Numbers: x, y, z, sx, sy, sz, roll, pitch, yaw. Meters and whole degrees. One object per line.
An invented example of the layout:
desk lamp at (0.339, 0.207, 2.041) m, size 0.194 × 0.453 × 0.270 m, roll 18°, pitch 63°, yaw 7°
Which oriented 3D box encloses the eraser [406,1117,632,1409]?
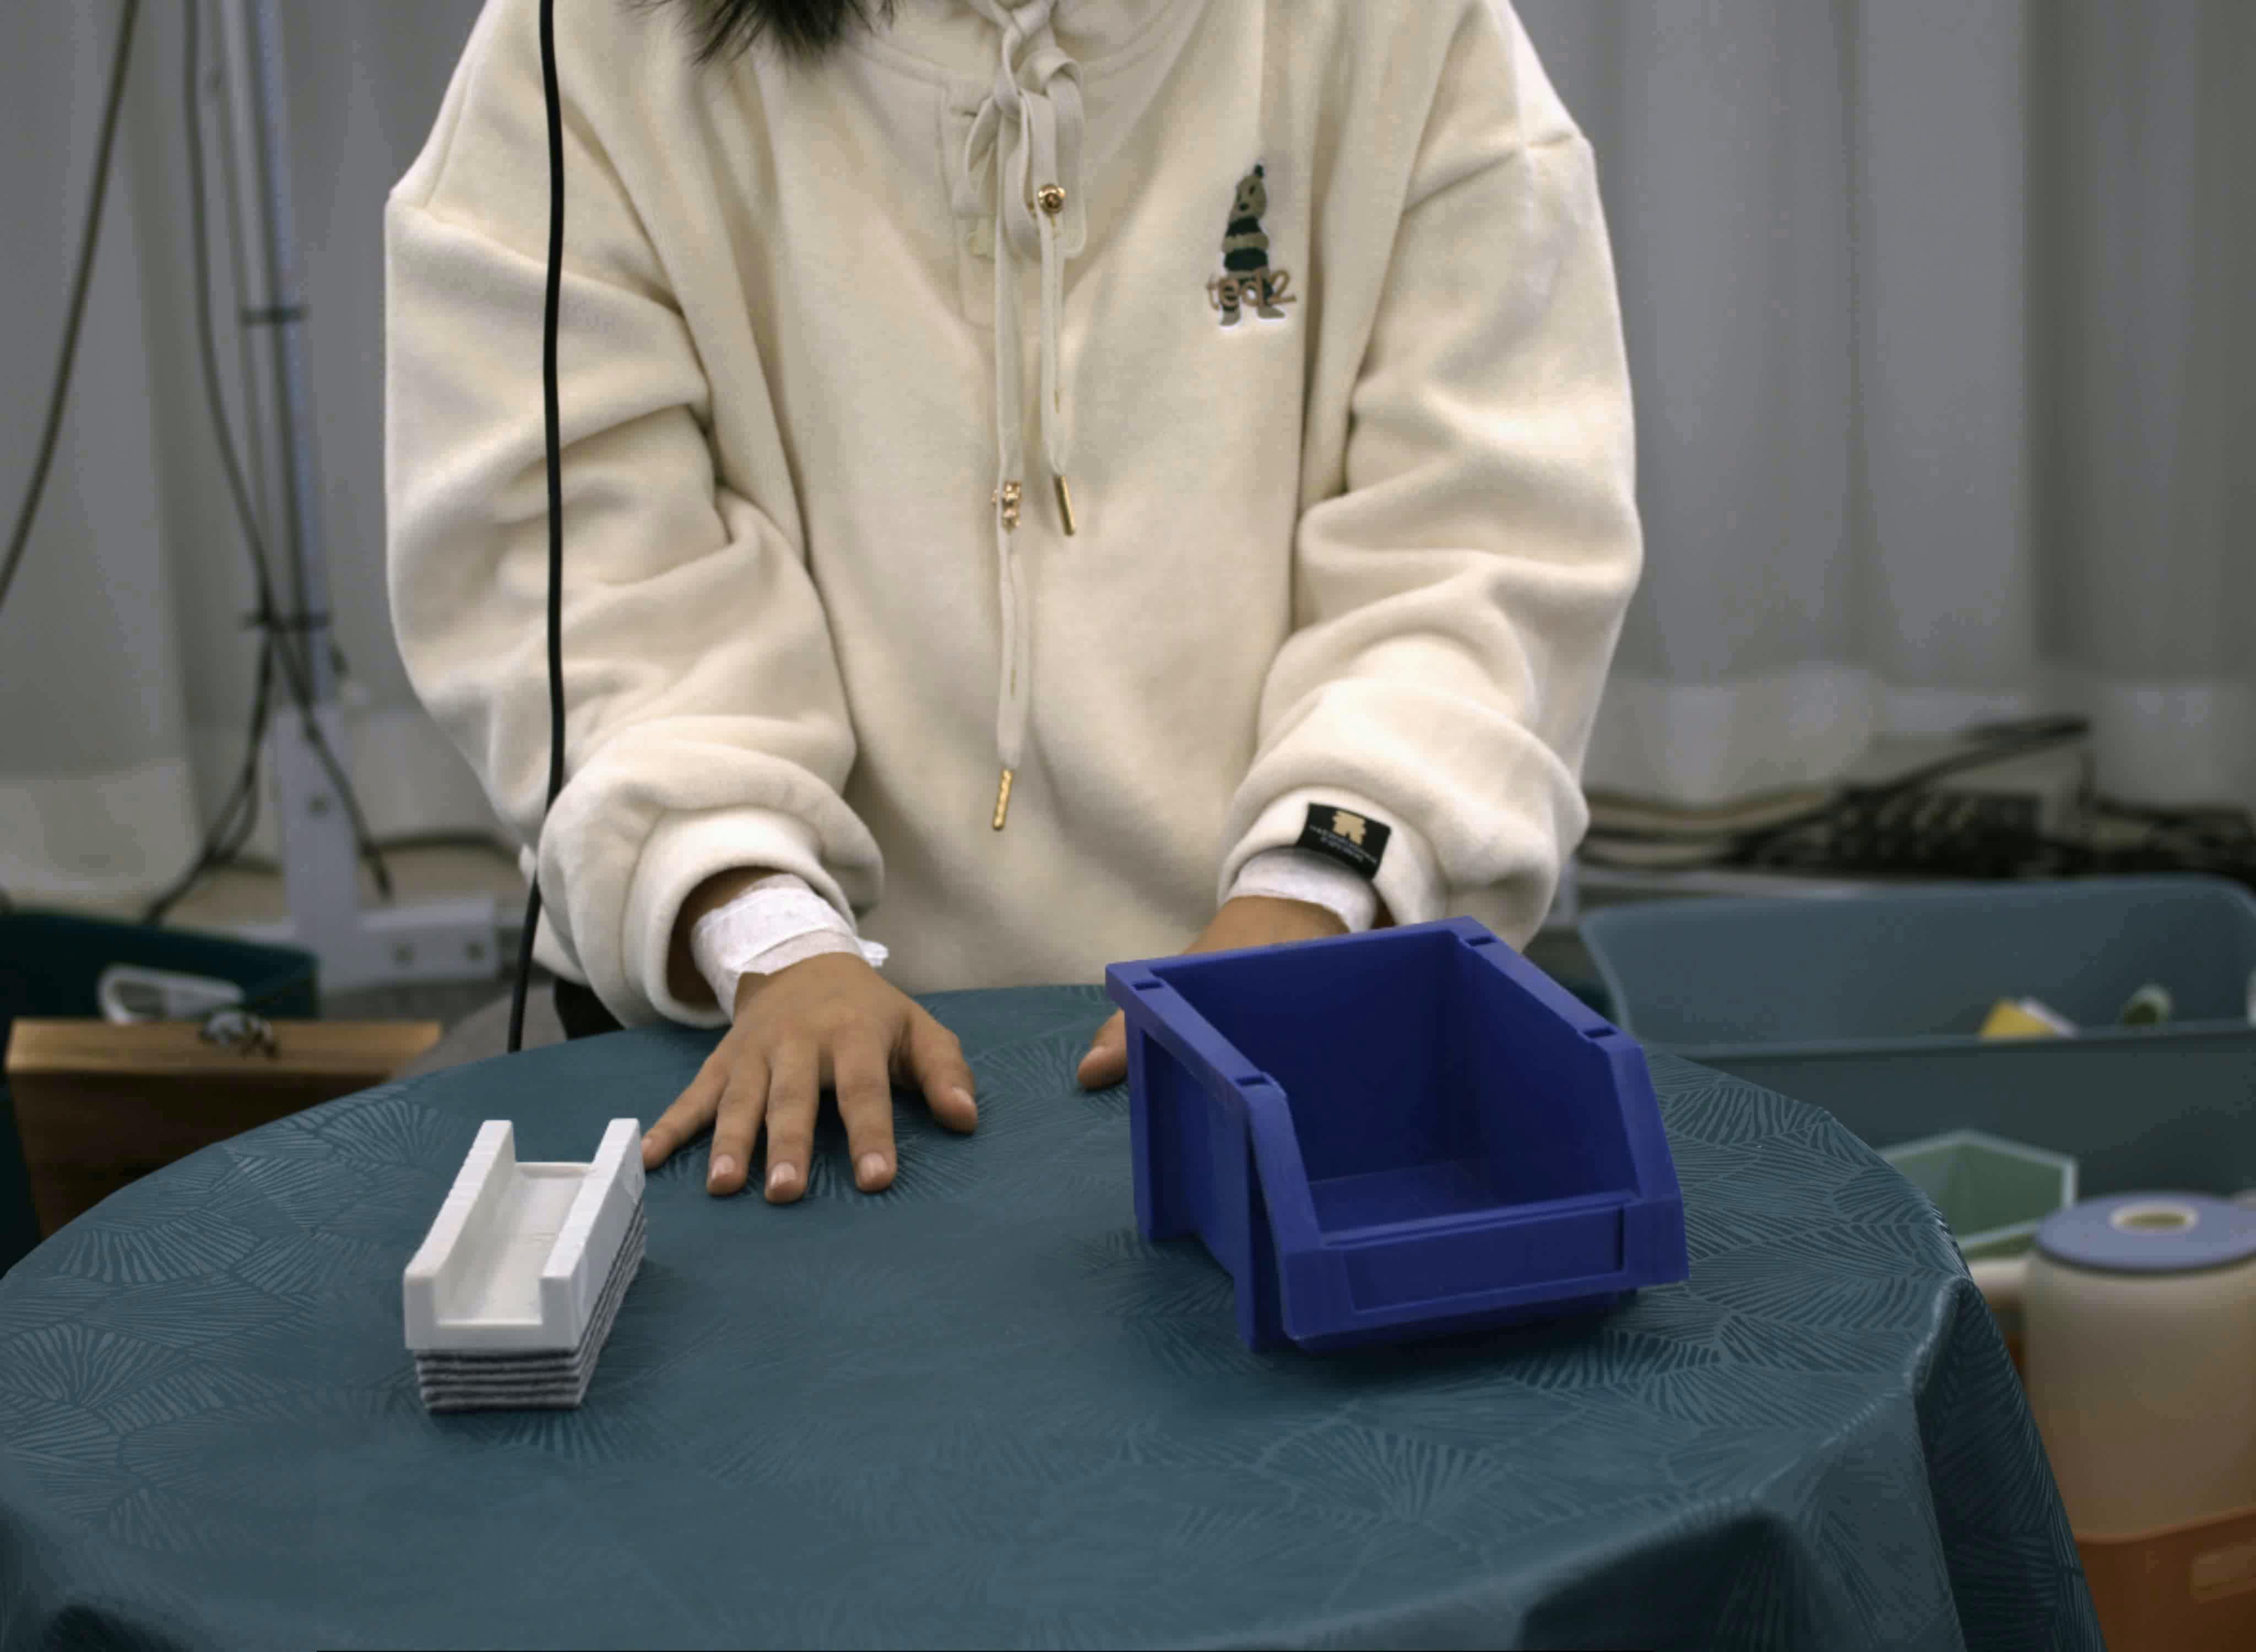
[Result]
eraser at (-0.177, 0.127, 1.609) m, size 0.049 × 0.046 × 0.135 m, roll -4°, pitch 16°, yaw 2°

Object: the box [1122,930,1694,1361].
box at (0.081, 0.096, 1.610) m, size 0.124 × 0.081 × 0.180 m, roll -6°, pitch 13°, yaw -13°
